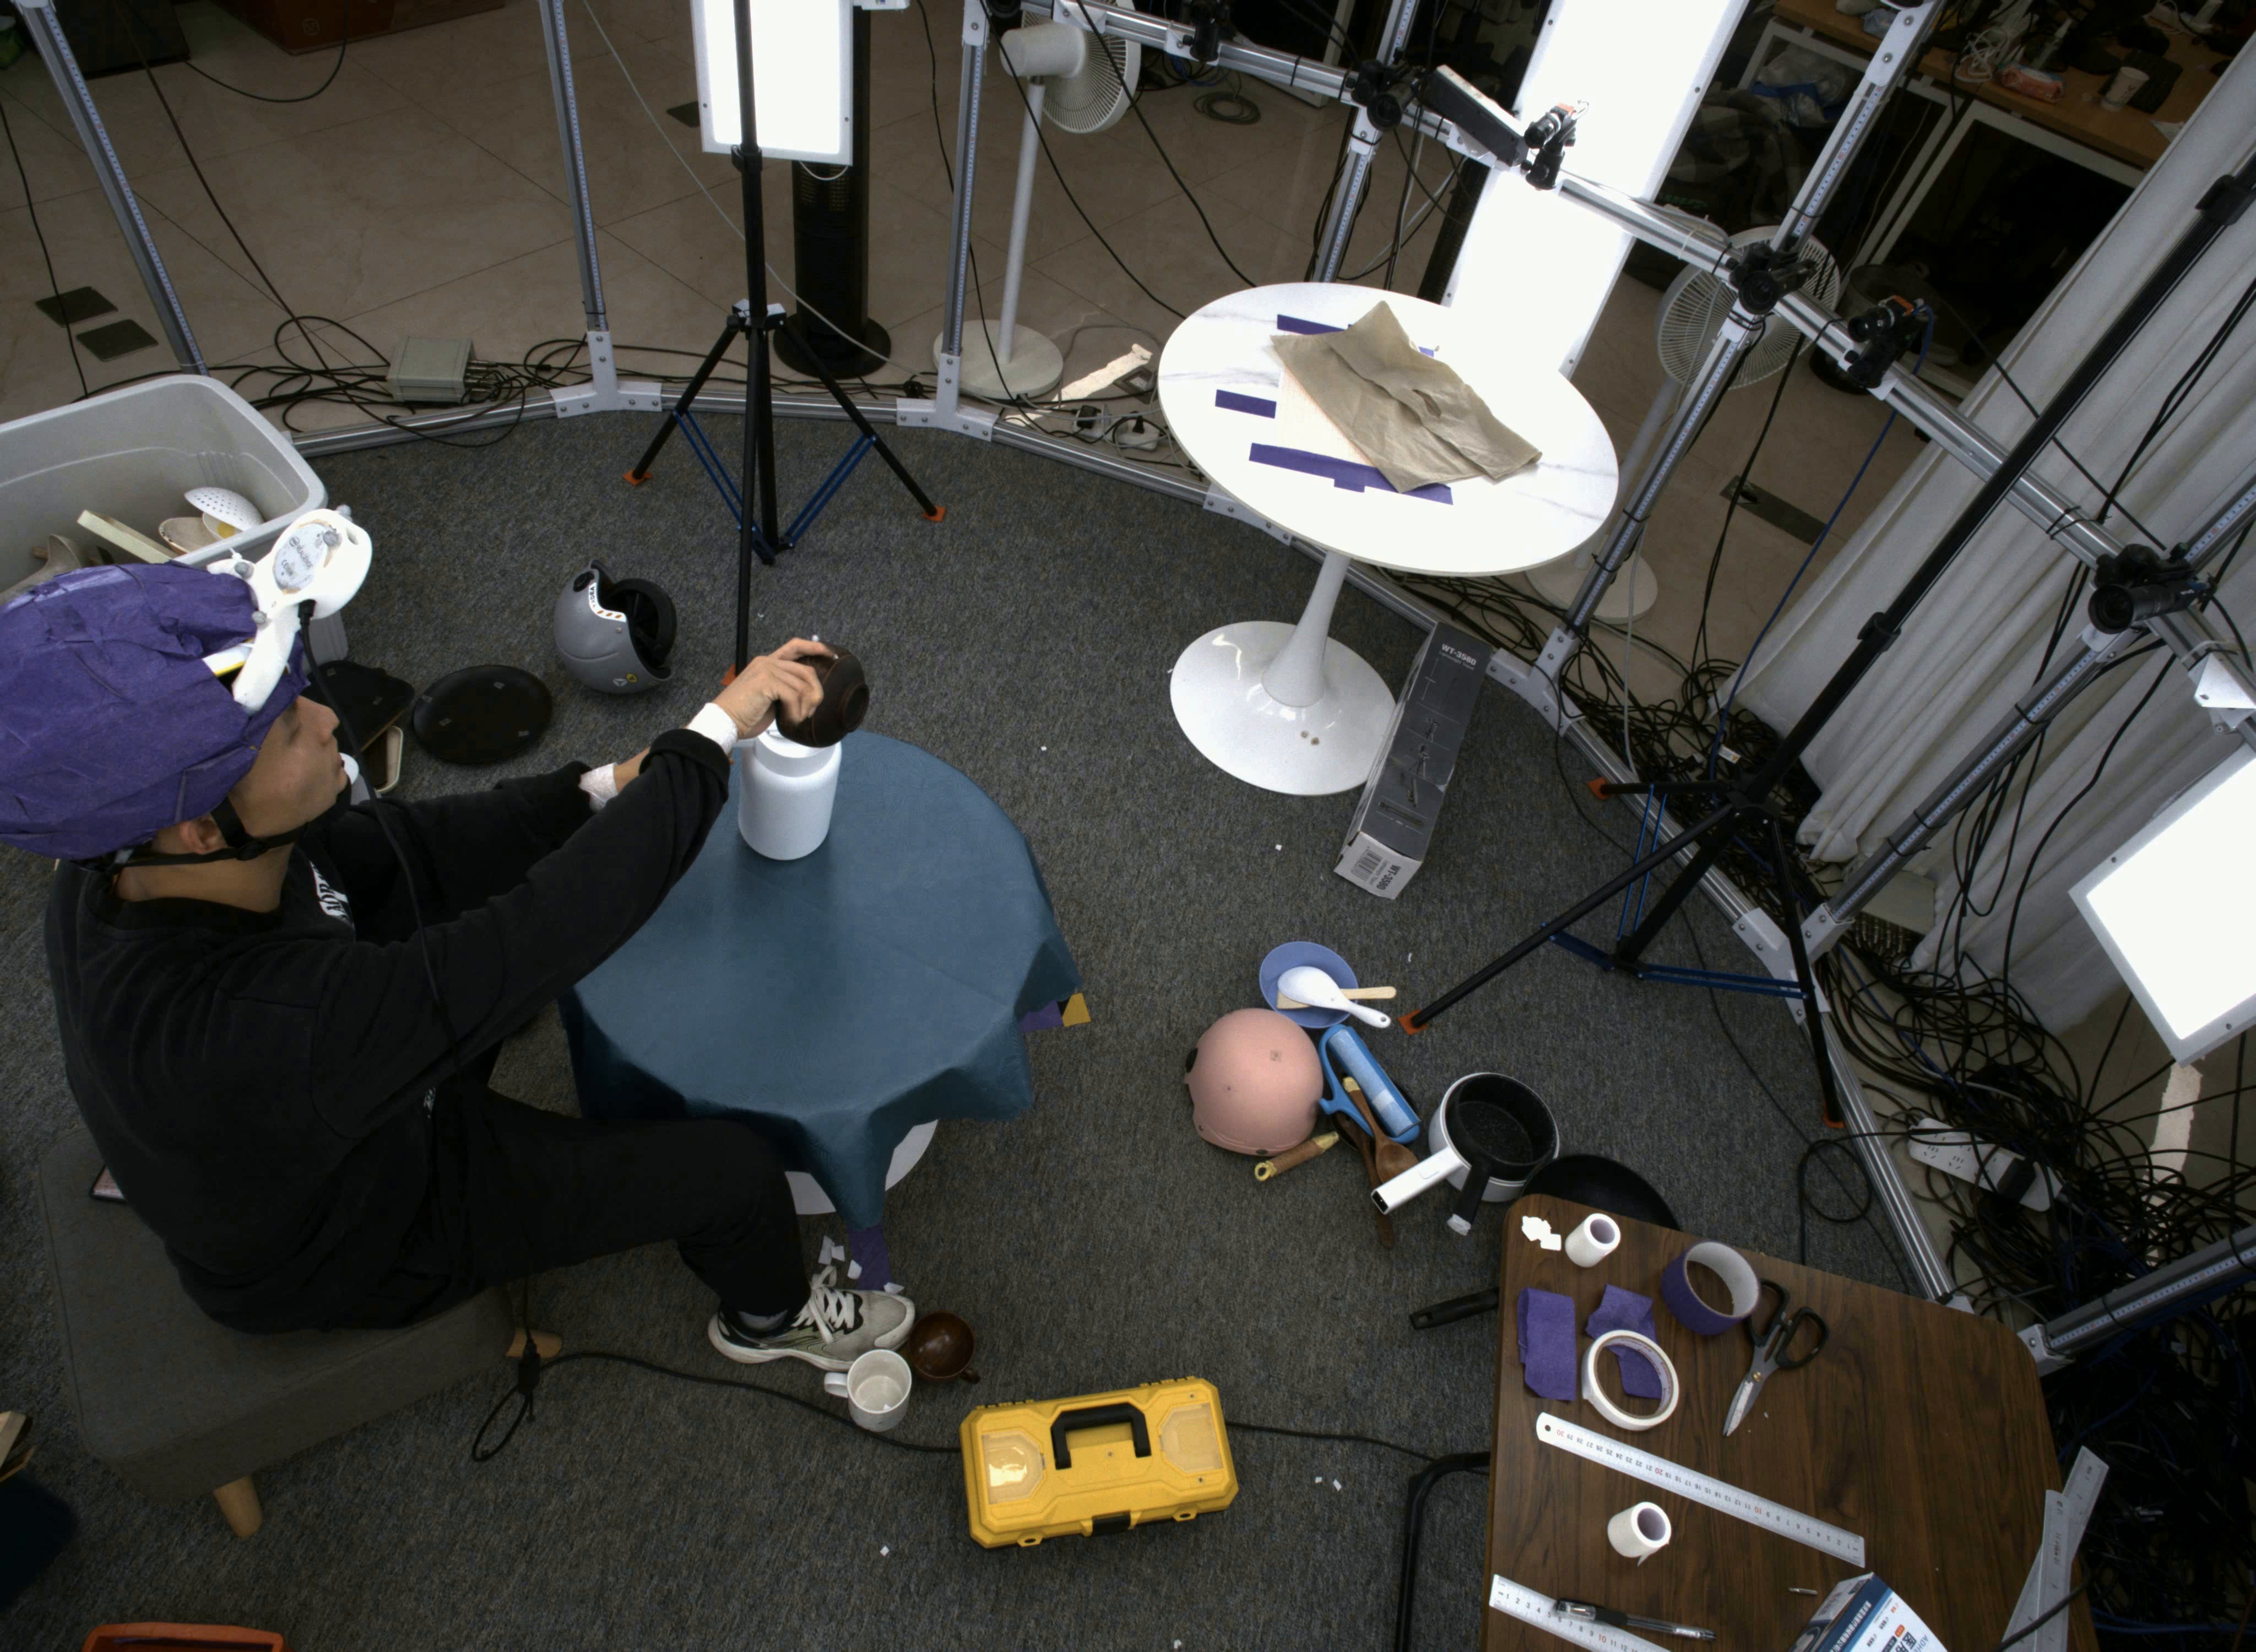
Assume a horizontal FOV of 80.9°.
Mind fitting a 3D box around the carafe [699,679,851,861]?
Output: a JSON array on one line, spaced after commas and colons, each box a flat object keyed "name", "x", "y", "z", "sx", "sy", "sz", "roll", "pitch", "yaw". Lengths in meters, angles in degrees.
[{"name": "carafe", "x": -0.435, "y": -0.064, "z": 1.584, "sx": 0.174, "sy": 0.270, "sz": 0.122, "roll": -6, "pitch": 67, "yaw": -21}]

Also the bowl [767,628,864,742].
[{"name": "bowl", "x": -0.331, "y": -0.147, "z": 1.404, "sx": 0.068, "sy": 0.121, "sz": 0.117, "roll": 19, "pitch": 50, "yaw": 11}]
